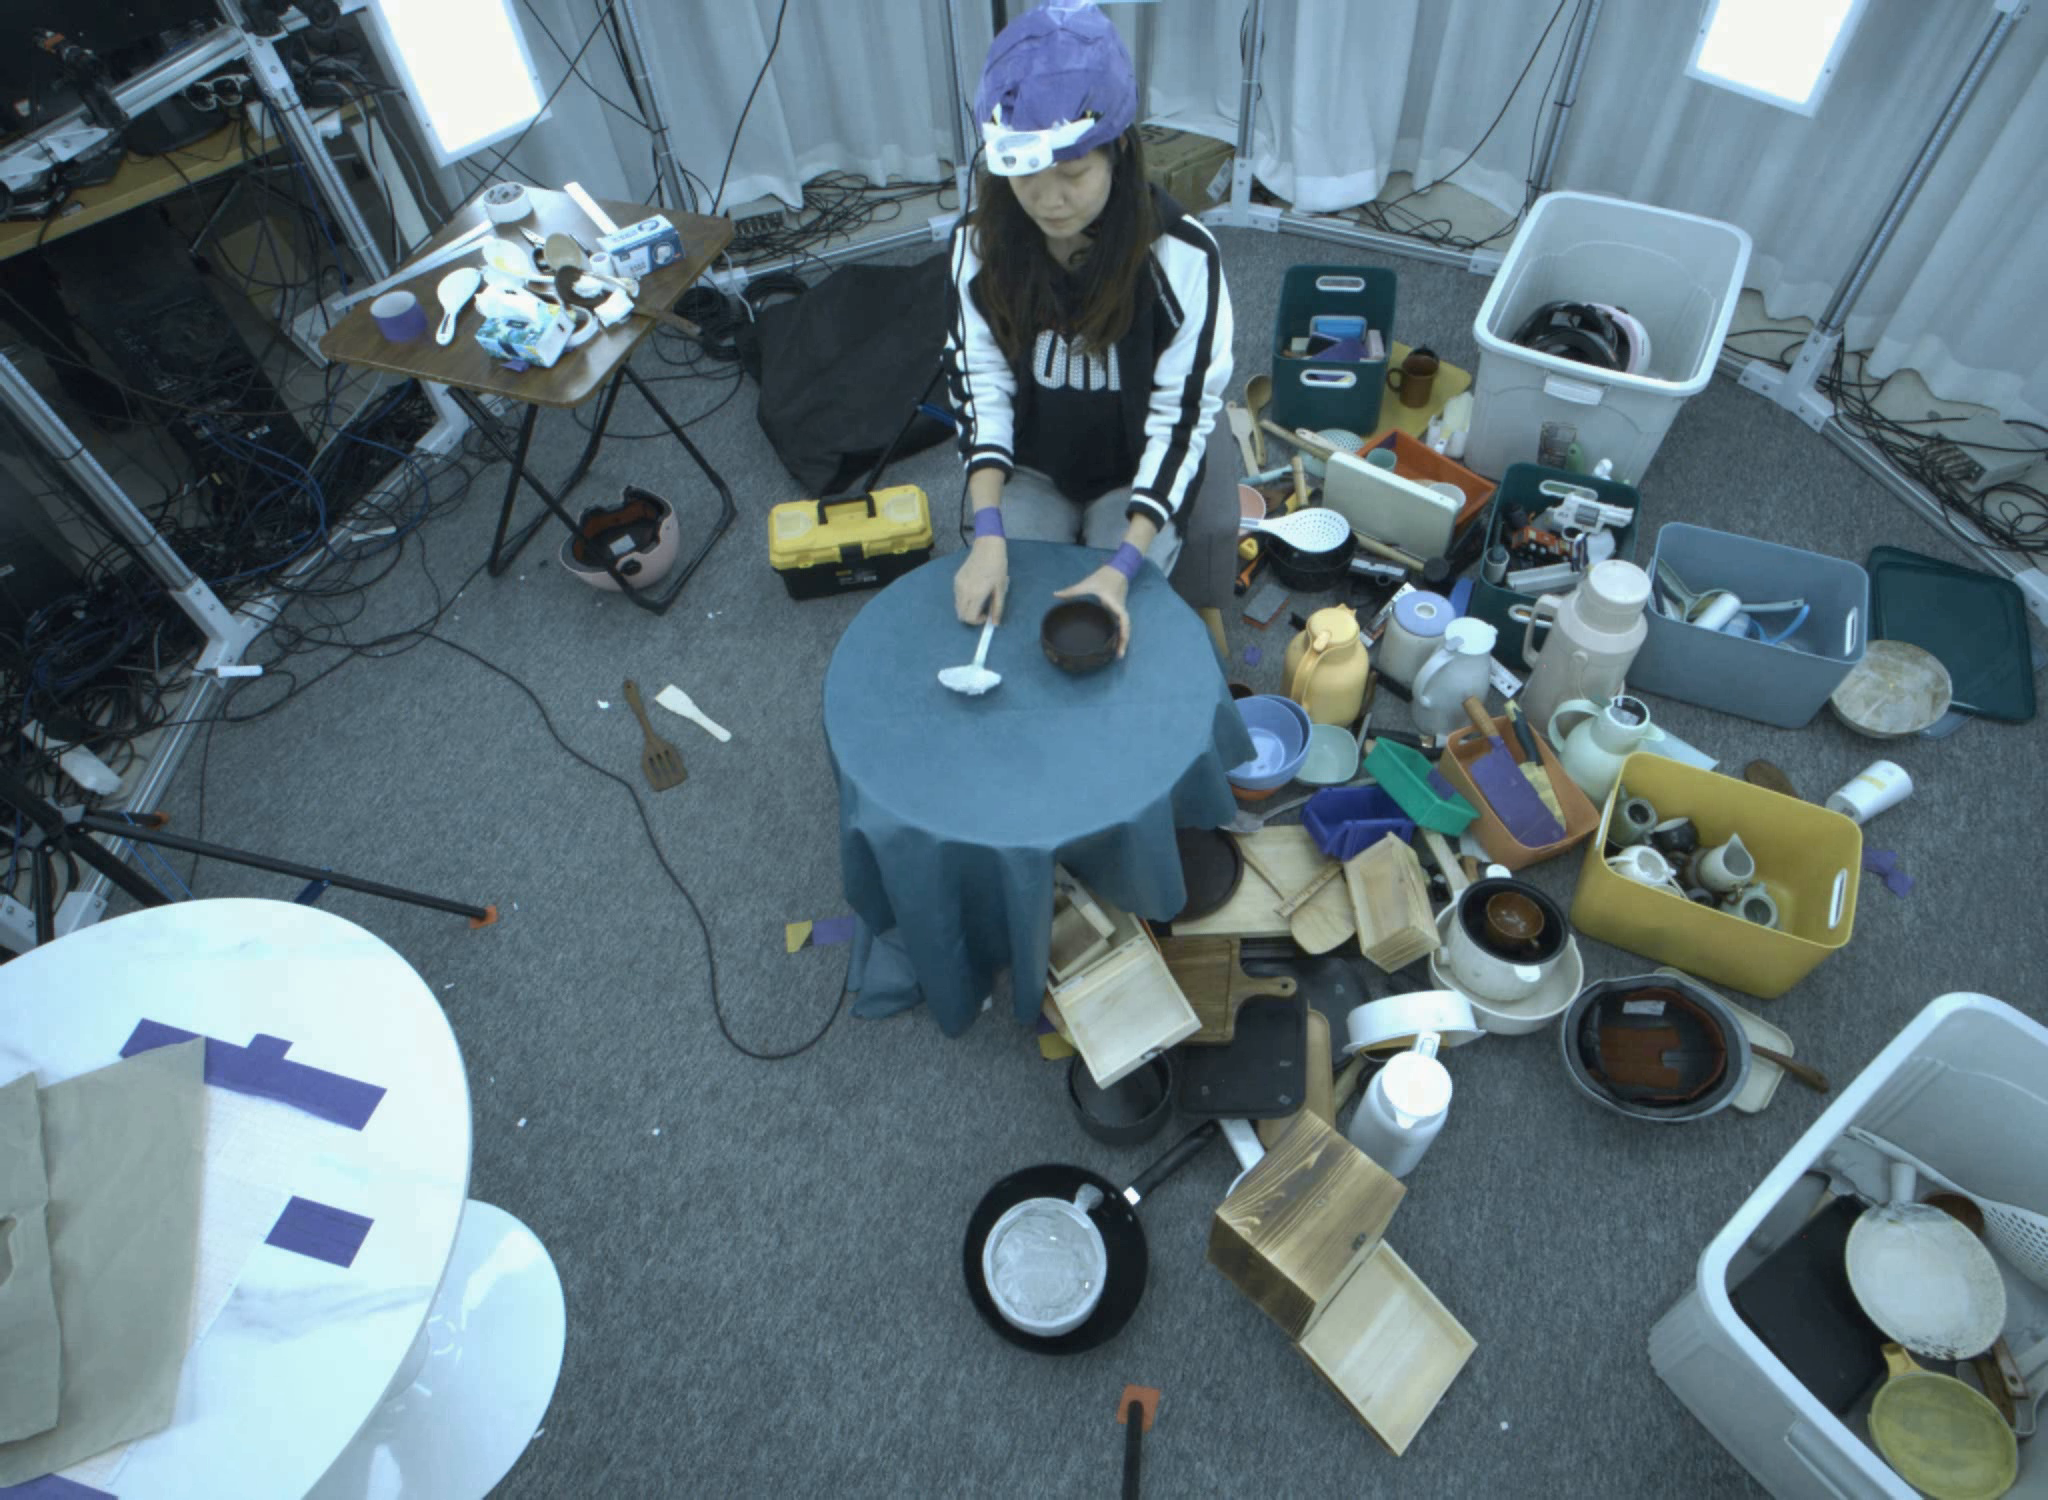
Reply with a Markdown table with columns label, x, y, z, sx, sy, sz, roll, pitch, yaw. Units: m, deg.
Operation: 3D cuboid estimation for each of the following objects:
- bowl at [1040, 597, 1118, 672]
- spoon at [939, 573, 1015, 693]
| label | x | y | z | sx | sy | sz | roll | pitch | yaw |
| --- | --- | --- | --- | --- | --- | --- | --- | --- | --- |
| bowl | 0.083 | -0.166 | 1.857 | 0.118 | 0.070 | 0.117 | 0 | 55 | 2 |
| spoon | -0.052 | -0.187 | 1.886 | 0.100 | 0.060 | 0.276 | 13 | 57 | 7 |
